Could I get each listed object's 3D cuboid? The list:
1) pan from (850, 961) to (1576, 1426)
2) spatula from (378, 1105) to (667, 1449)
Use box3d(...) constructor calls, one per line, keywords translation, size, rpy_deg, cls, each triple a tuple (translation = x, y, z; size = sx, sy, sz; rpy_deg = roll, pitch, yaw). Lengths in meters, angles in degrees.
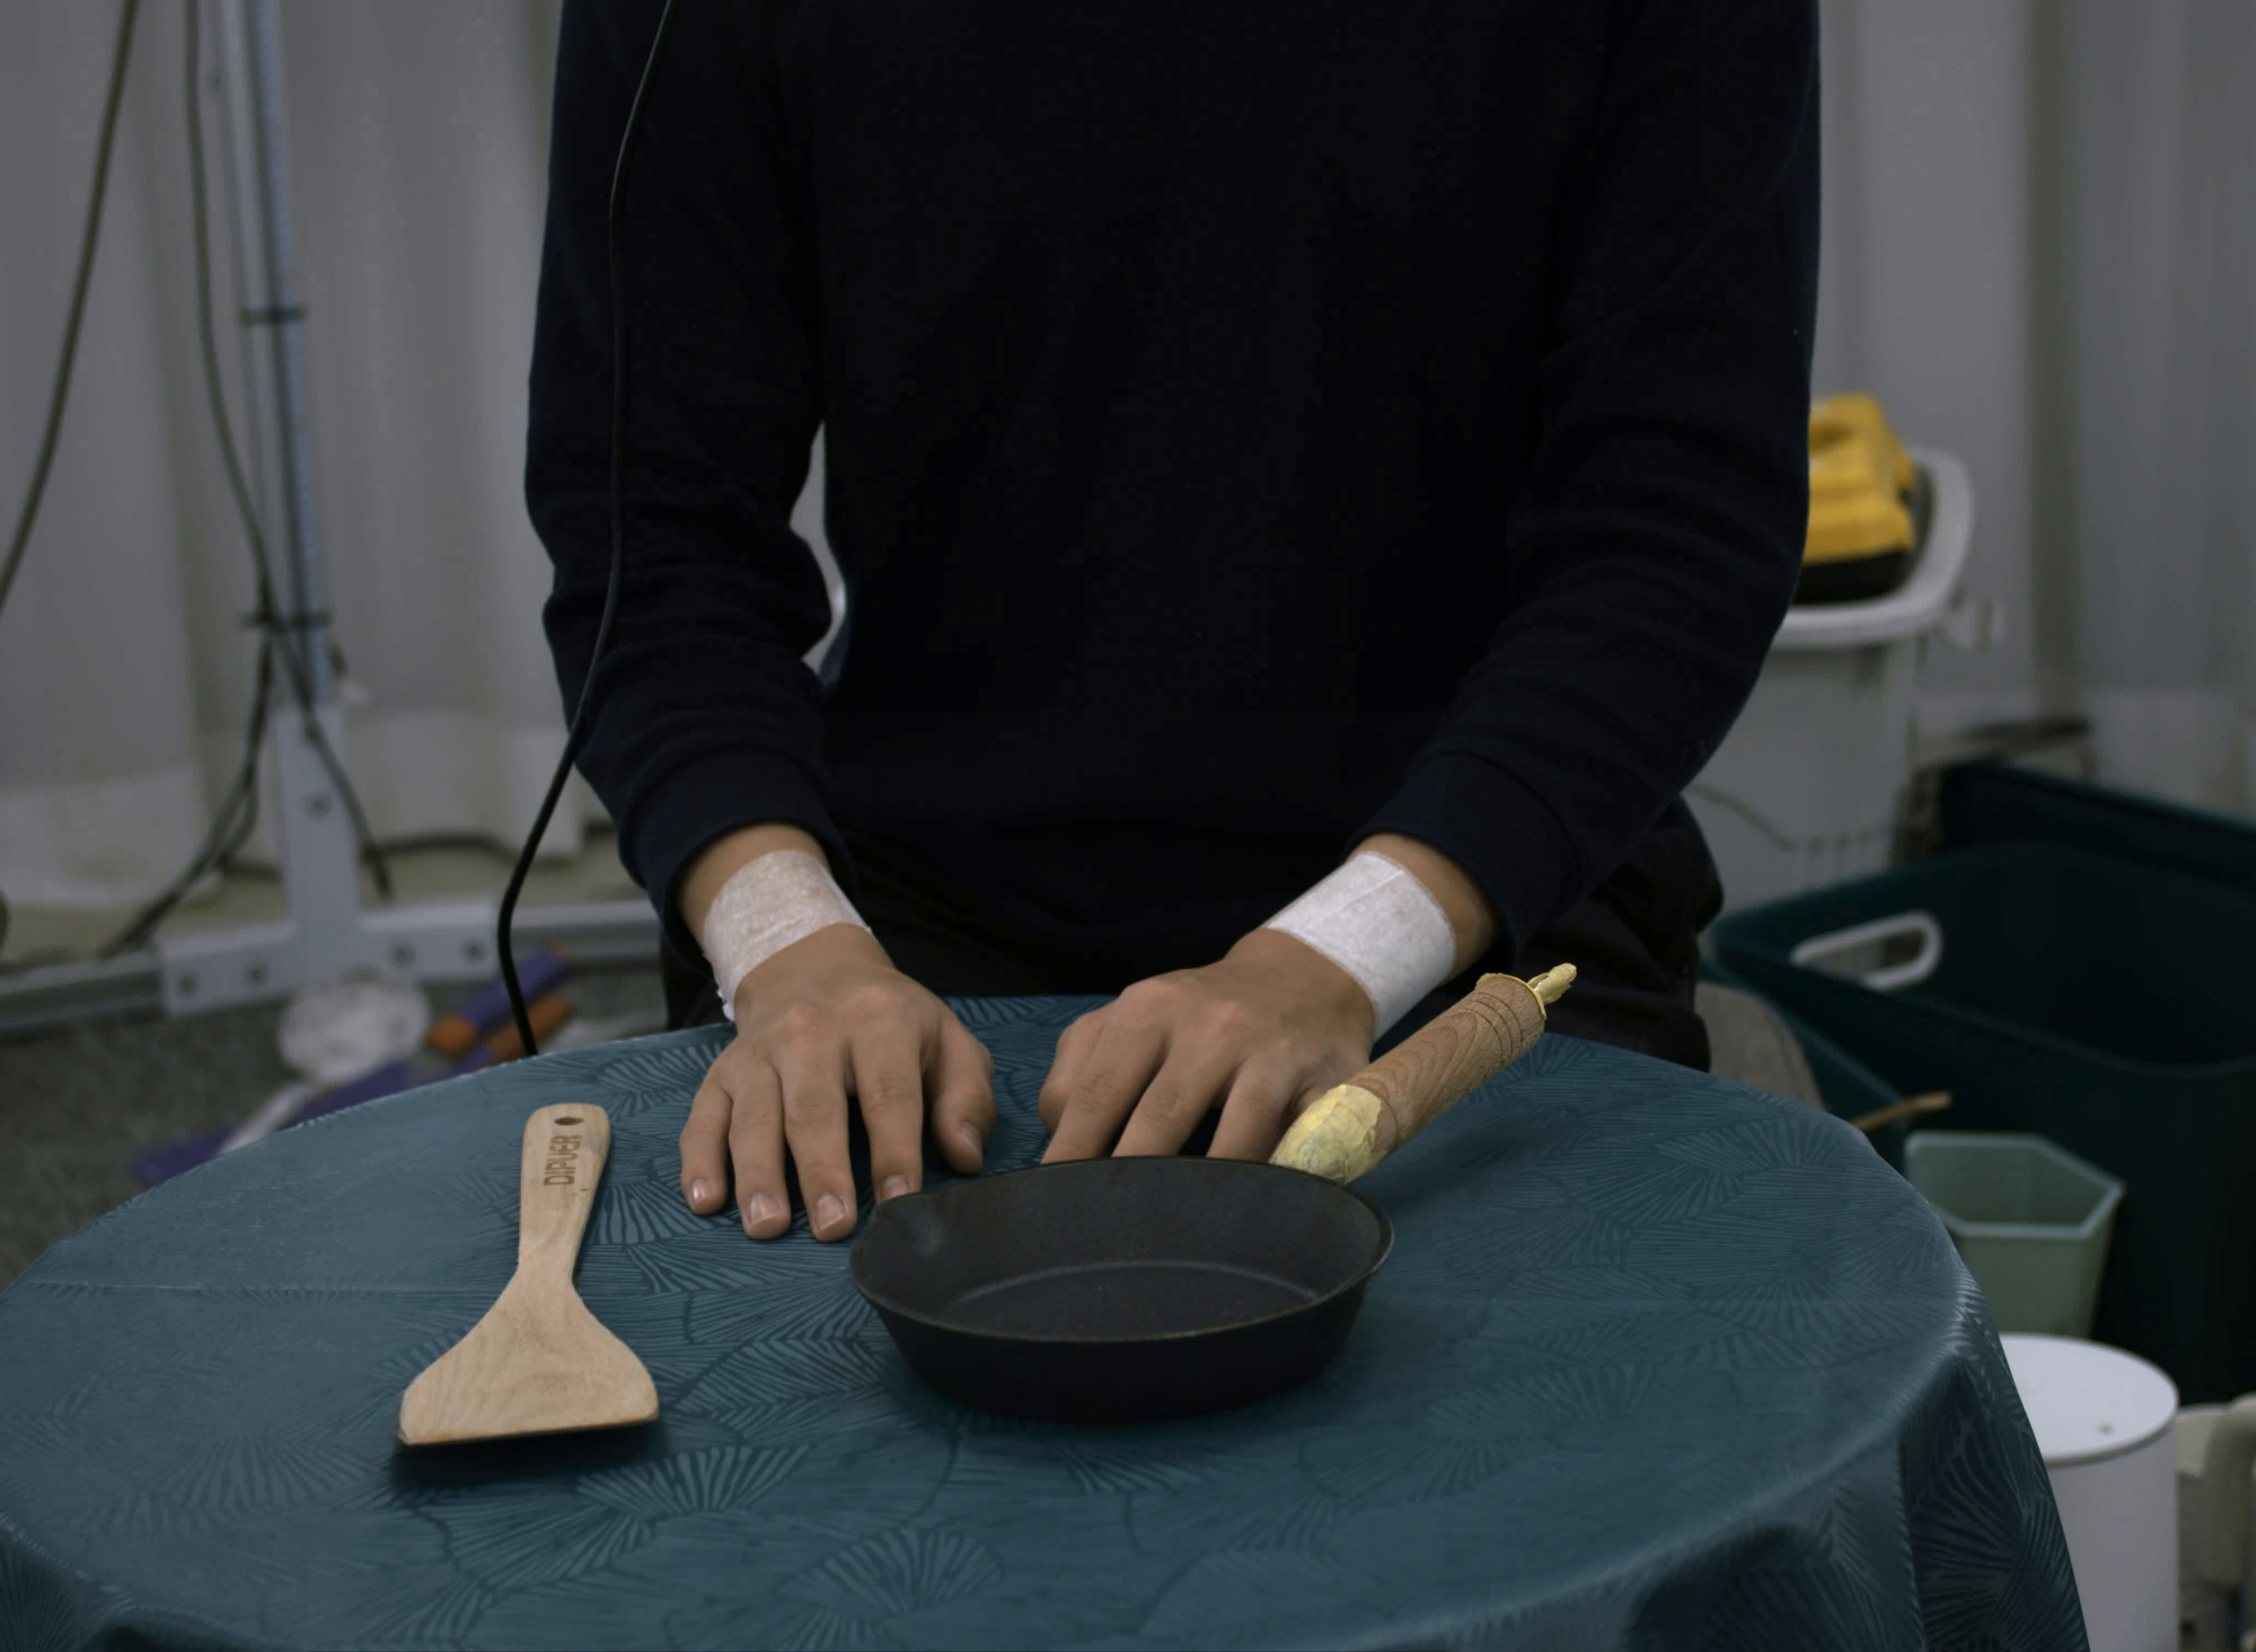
box3d(translation=(0.048, 0.107, 1.639), size=(0.169, 0.049, 0.324), rpy_deg=(8, 20, 36), cls="pan")
box3d(translation=(-0.175, 0.133, 1.652), size=(0.079, 0.016, 0.330), rpy_deg=(-3, 15, -2), cls="spatula")
